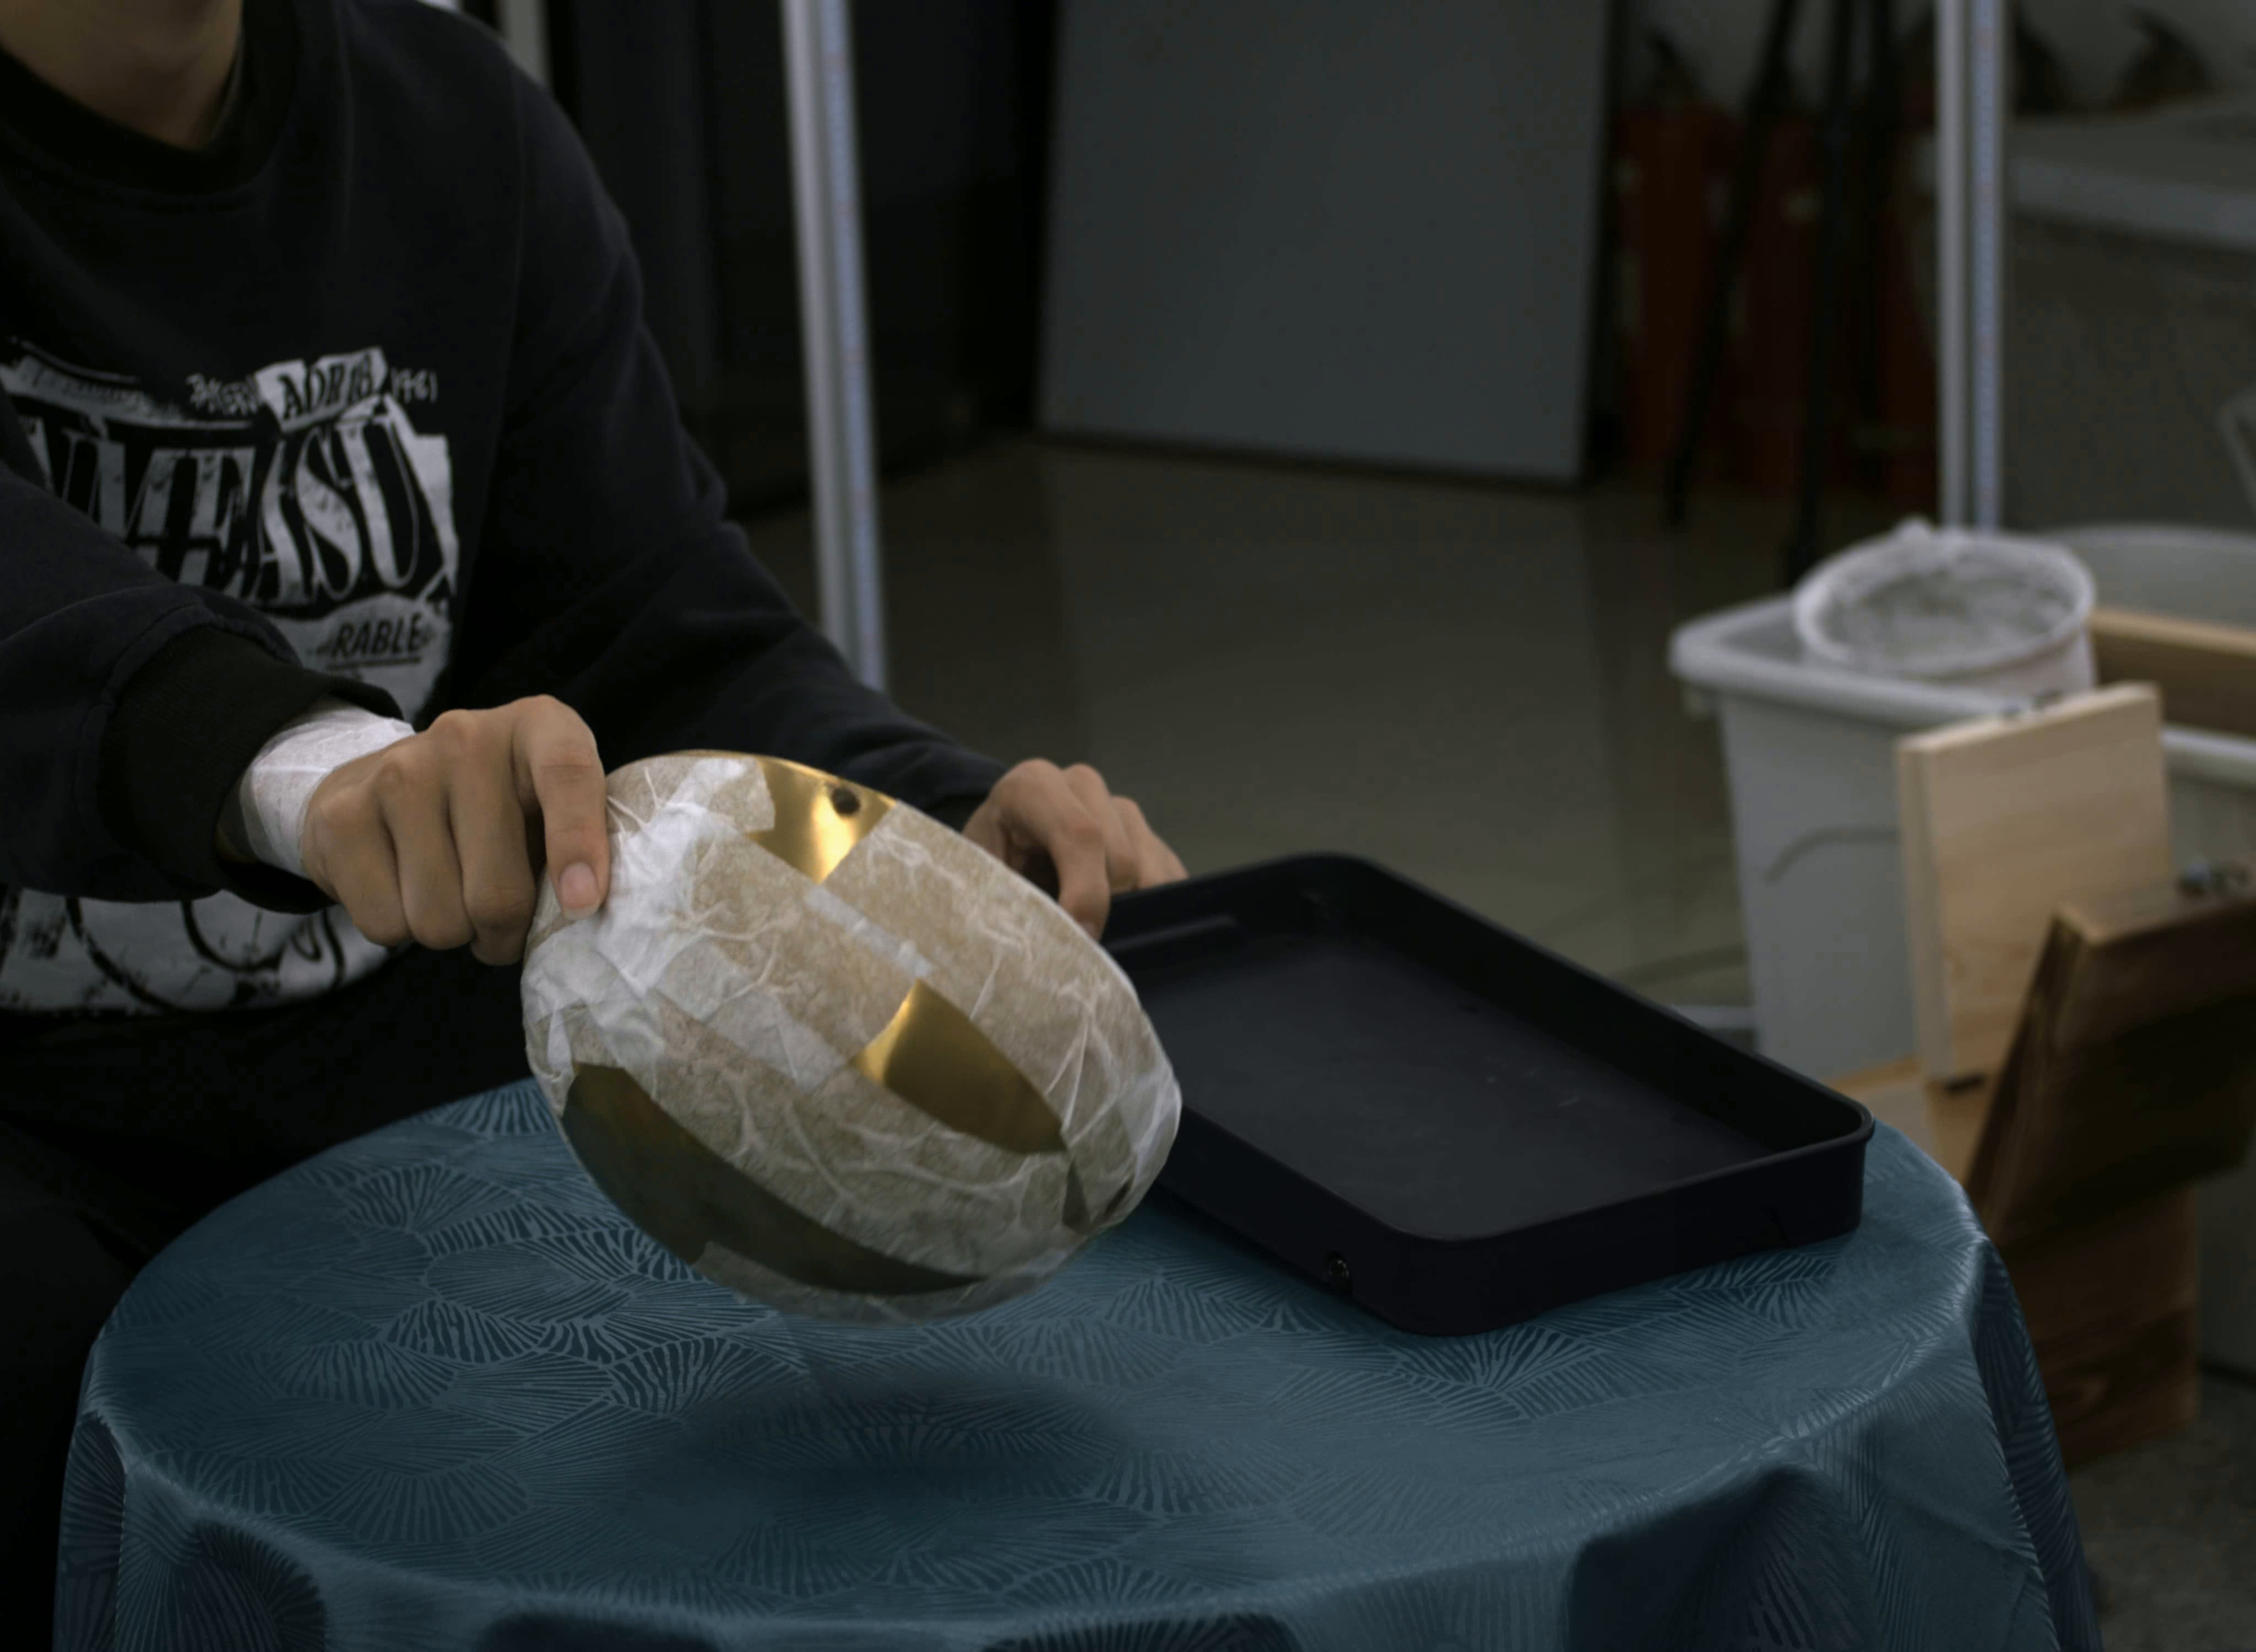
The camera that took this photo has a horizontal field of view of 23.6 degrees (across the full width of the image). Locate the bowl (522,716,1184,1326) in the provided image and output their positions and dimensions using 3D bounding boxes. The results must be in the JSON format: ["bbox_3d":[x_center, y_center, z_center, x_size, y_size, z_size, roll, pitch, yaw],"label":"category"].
[{"bbox_3d":[-0.094,0.077,1.536,0.216,0.214,0.094,6,50,34],"label":"bowl"}]

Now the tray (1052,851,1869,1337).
[{"bbox_3d":[0.082,0.082,1.769,0.180,0.037,0.321,-11,22,-28],"label":"tray"}]
